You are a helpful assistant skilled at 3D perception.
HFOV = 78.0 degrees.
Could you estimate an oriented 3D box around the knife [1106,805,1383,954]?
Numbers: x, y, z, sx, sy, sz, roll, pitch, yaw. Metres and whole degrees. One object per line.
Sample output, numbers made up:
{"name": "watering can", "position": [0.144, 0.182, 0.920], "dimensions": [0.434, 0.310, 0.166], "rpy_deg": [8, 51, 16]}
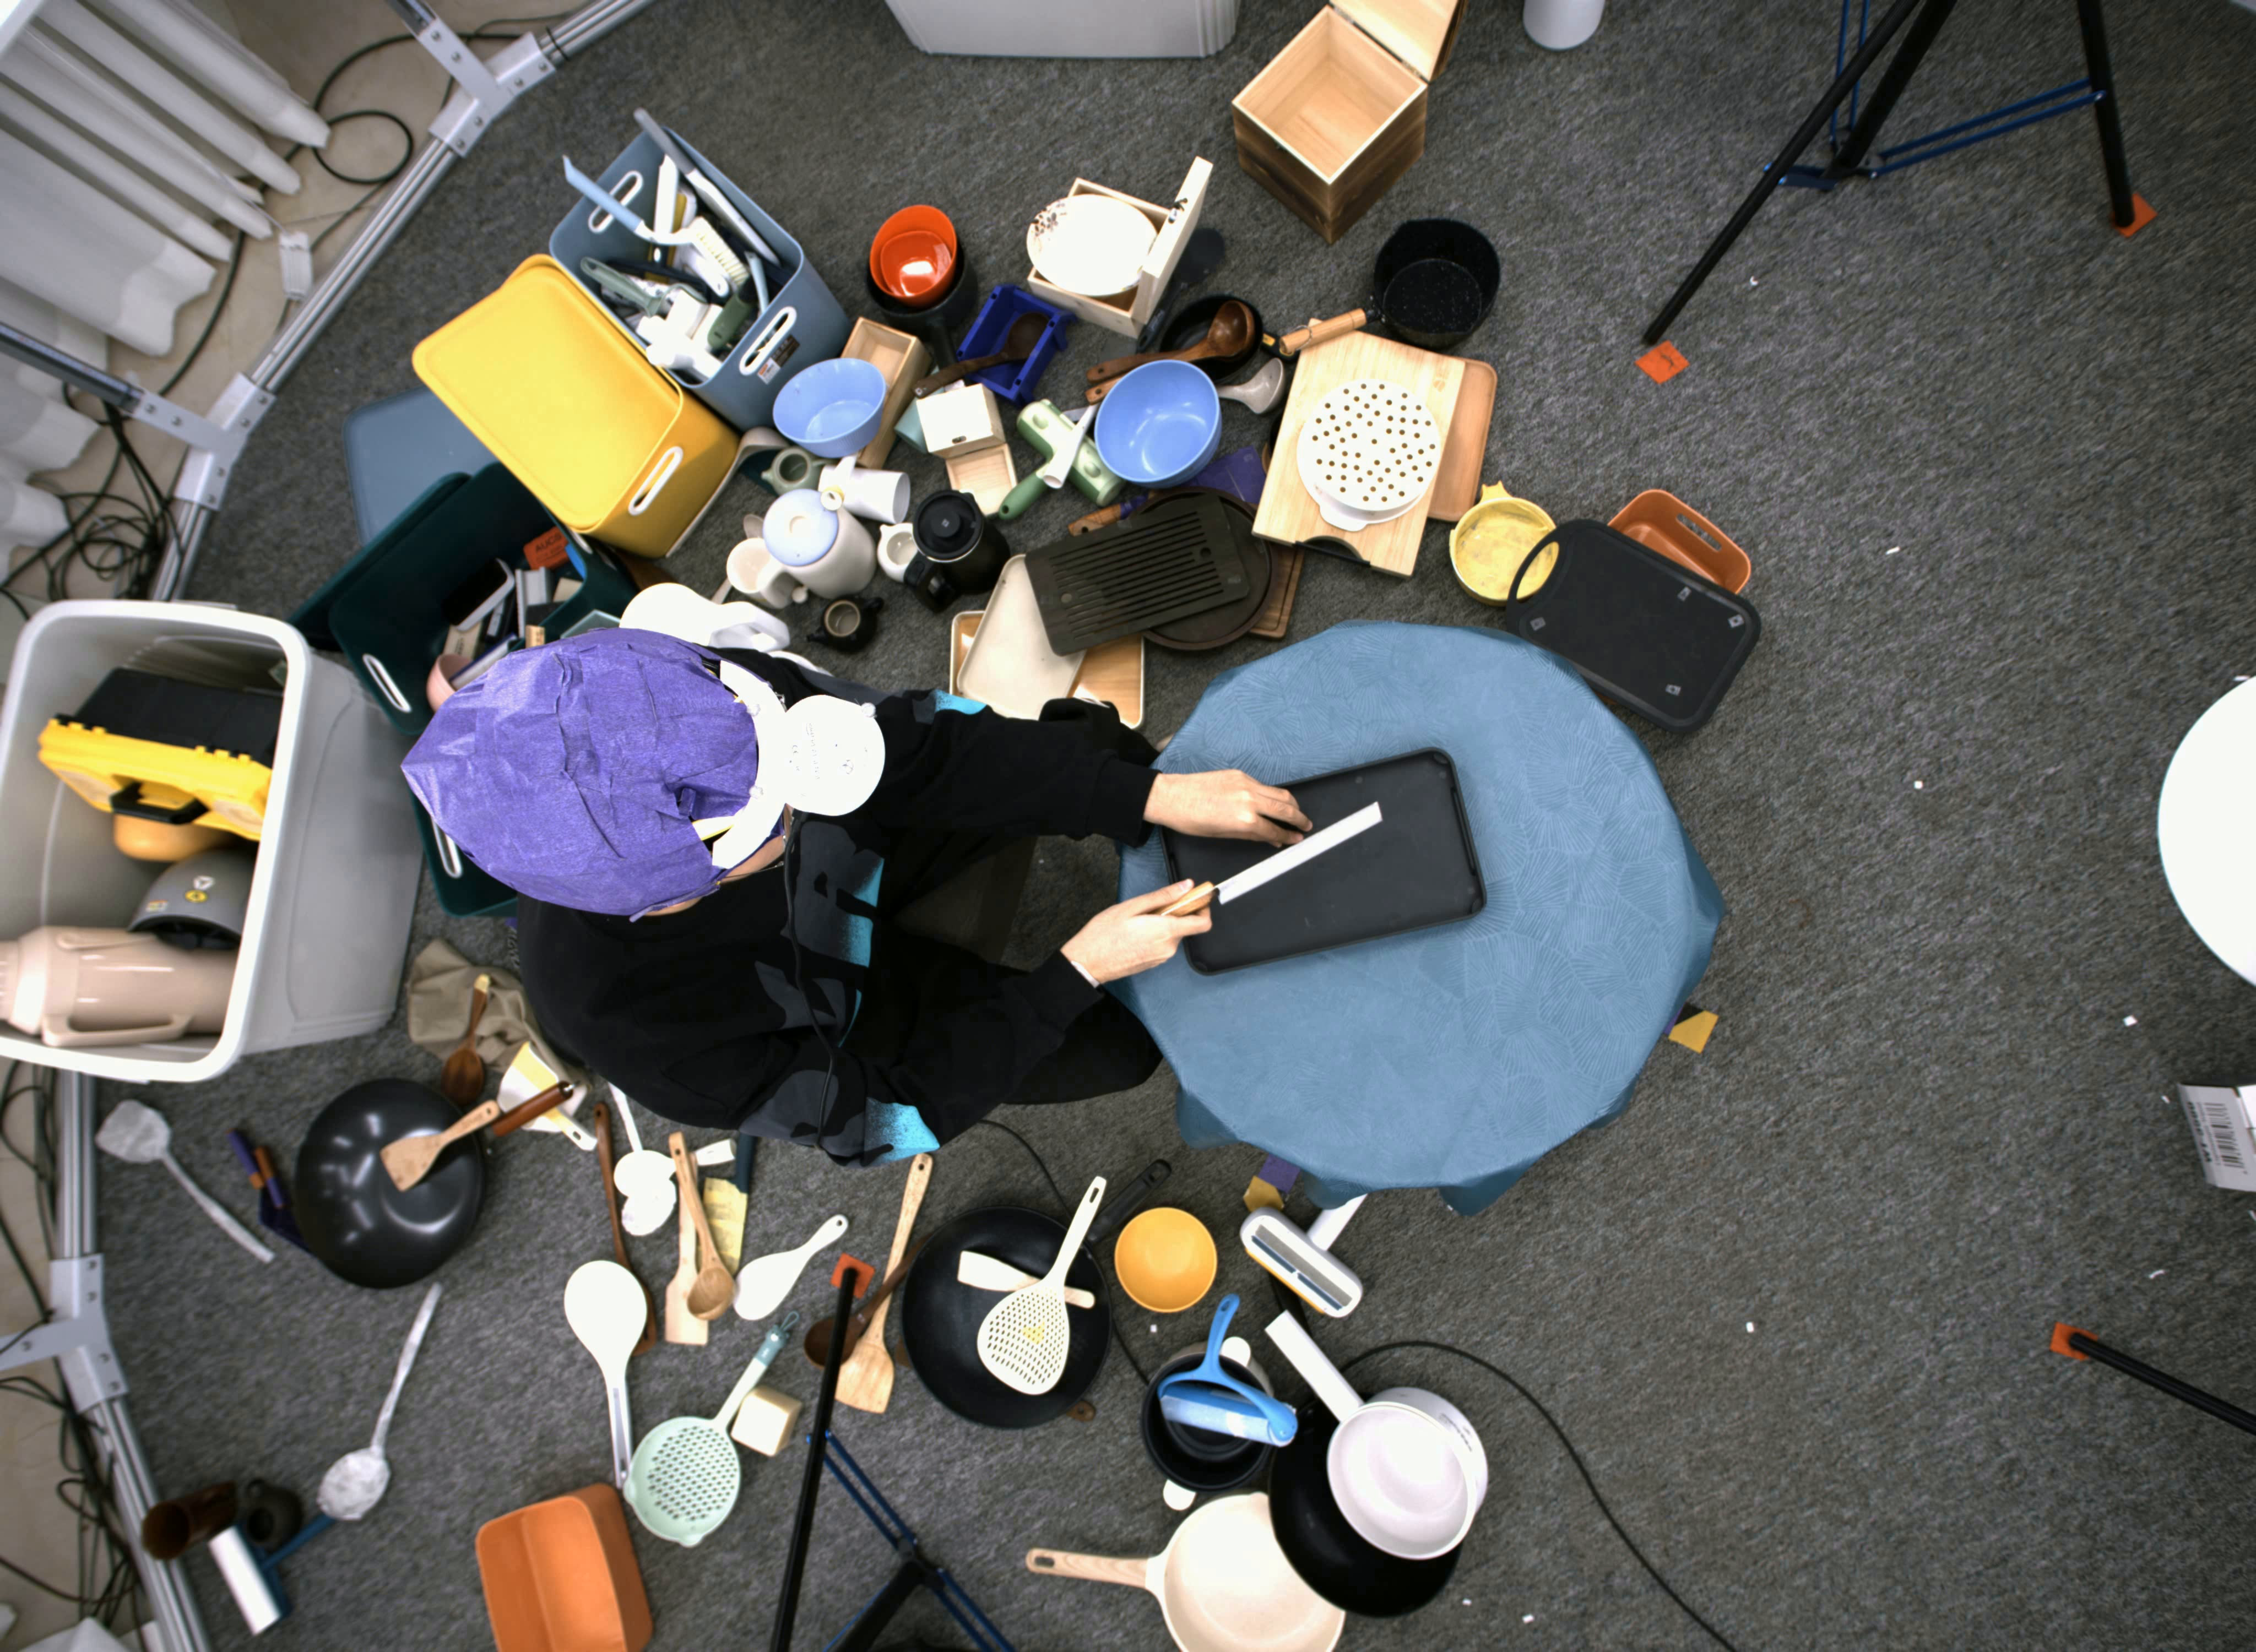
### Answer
{"name": "knife", "position": [0.122, 0.056, 1.409], "dimensions": [0.308, 0.093, 0.021], "rpy_deg": [-28, 74, 9]}

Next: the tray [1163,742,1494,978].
{"name": "tray", "position": [0.209, 0.036, 1.455], "dimensions": [0.320, 0.037, 0.183], "rpy_deg": [-15, 84, 10]}
